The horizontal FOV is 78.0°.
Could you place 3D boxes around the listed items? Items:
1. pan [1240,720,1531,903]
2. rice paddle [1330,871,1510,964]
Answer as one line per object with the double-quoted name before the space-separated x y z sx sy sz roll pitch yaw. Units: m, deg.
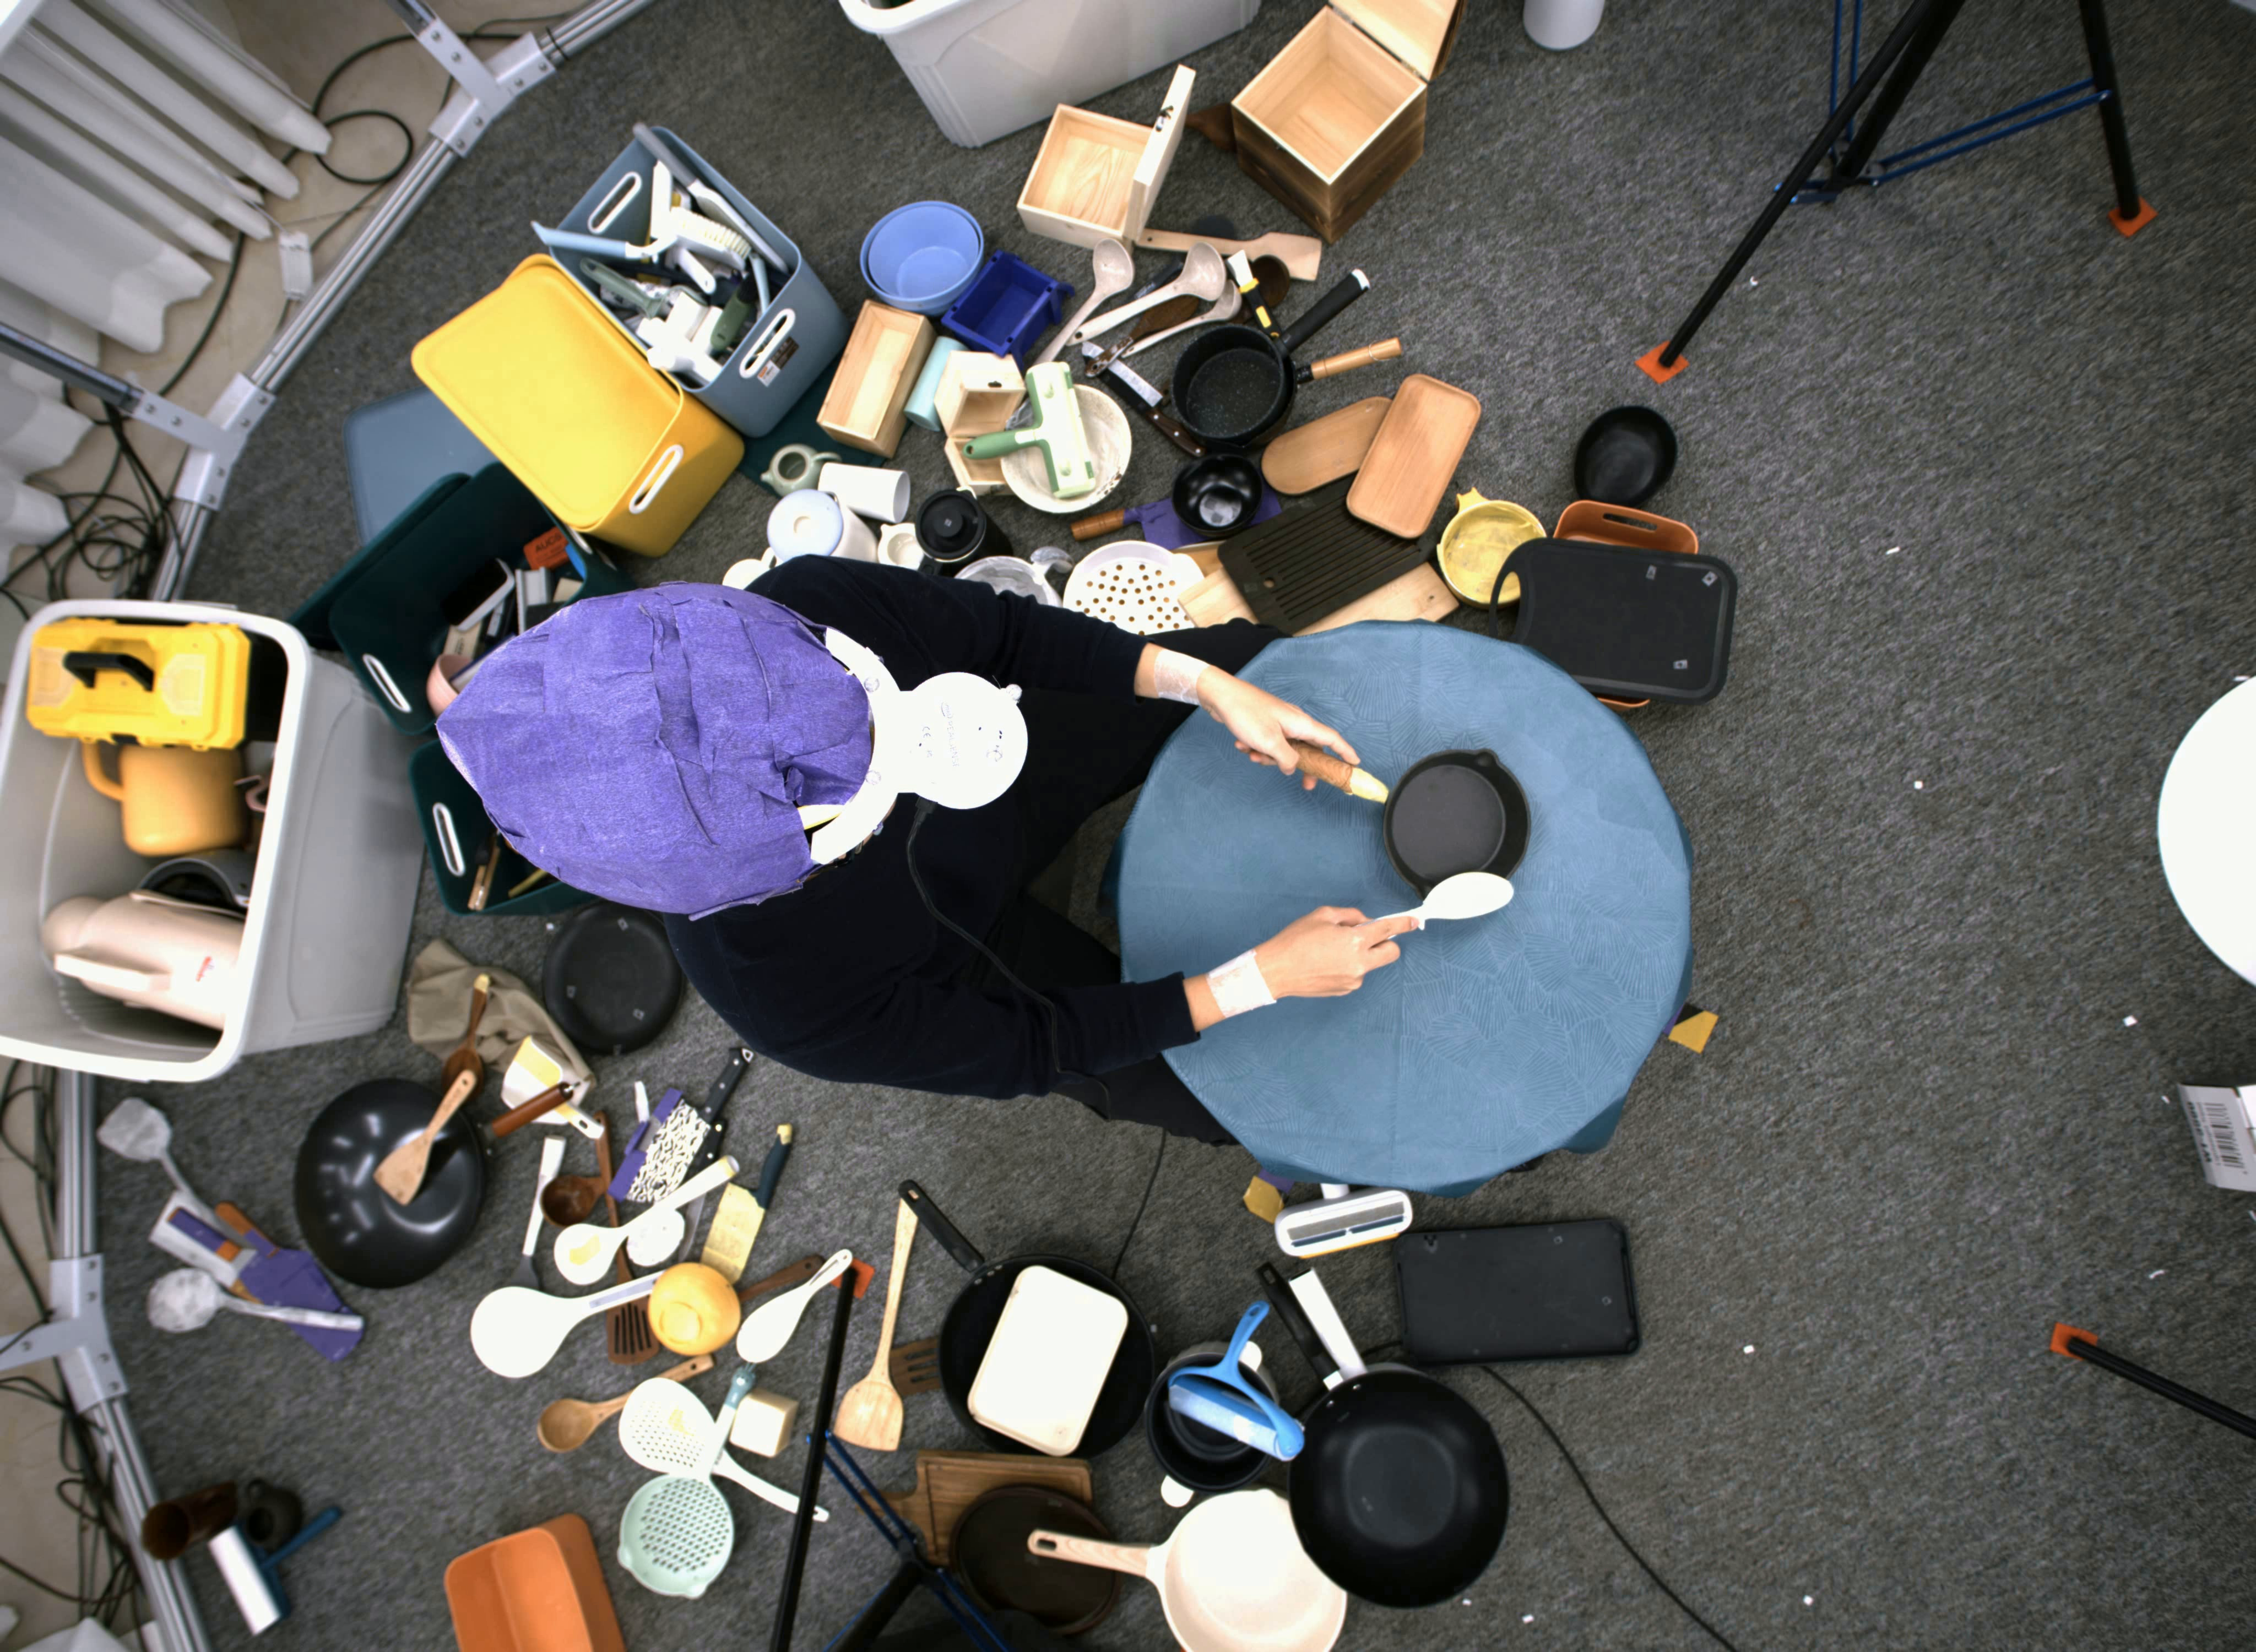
"pan" 0.259 -0.037 1.397 0.325 0.049 0.169 25 94 -9
"rice paddle" 0.295 0.085 1.379 0.203 0.068 0.030 -21 126 -17
